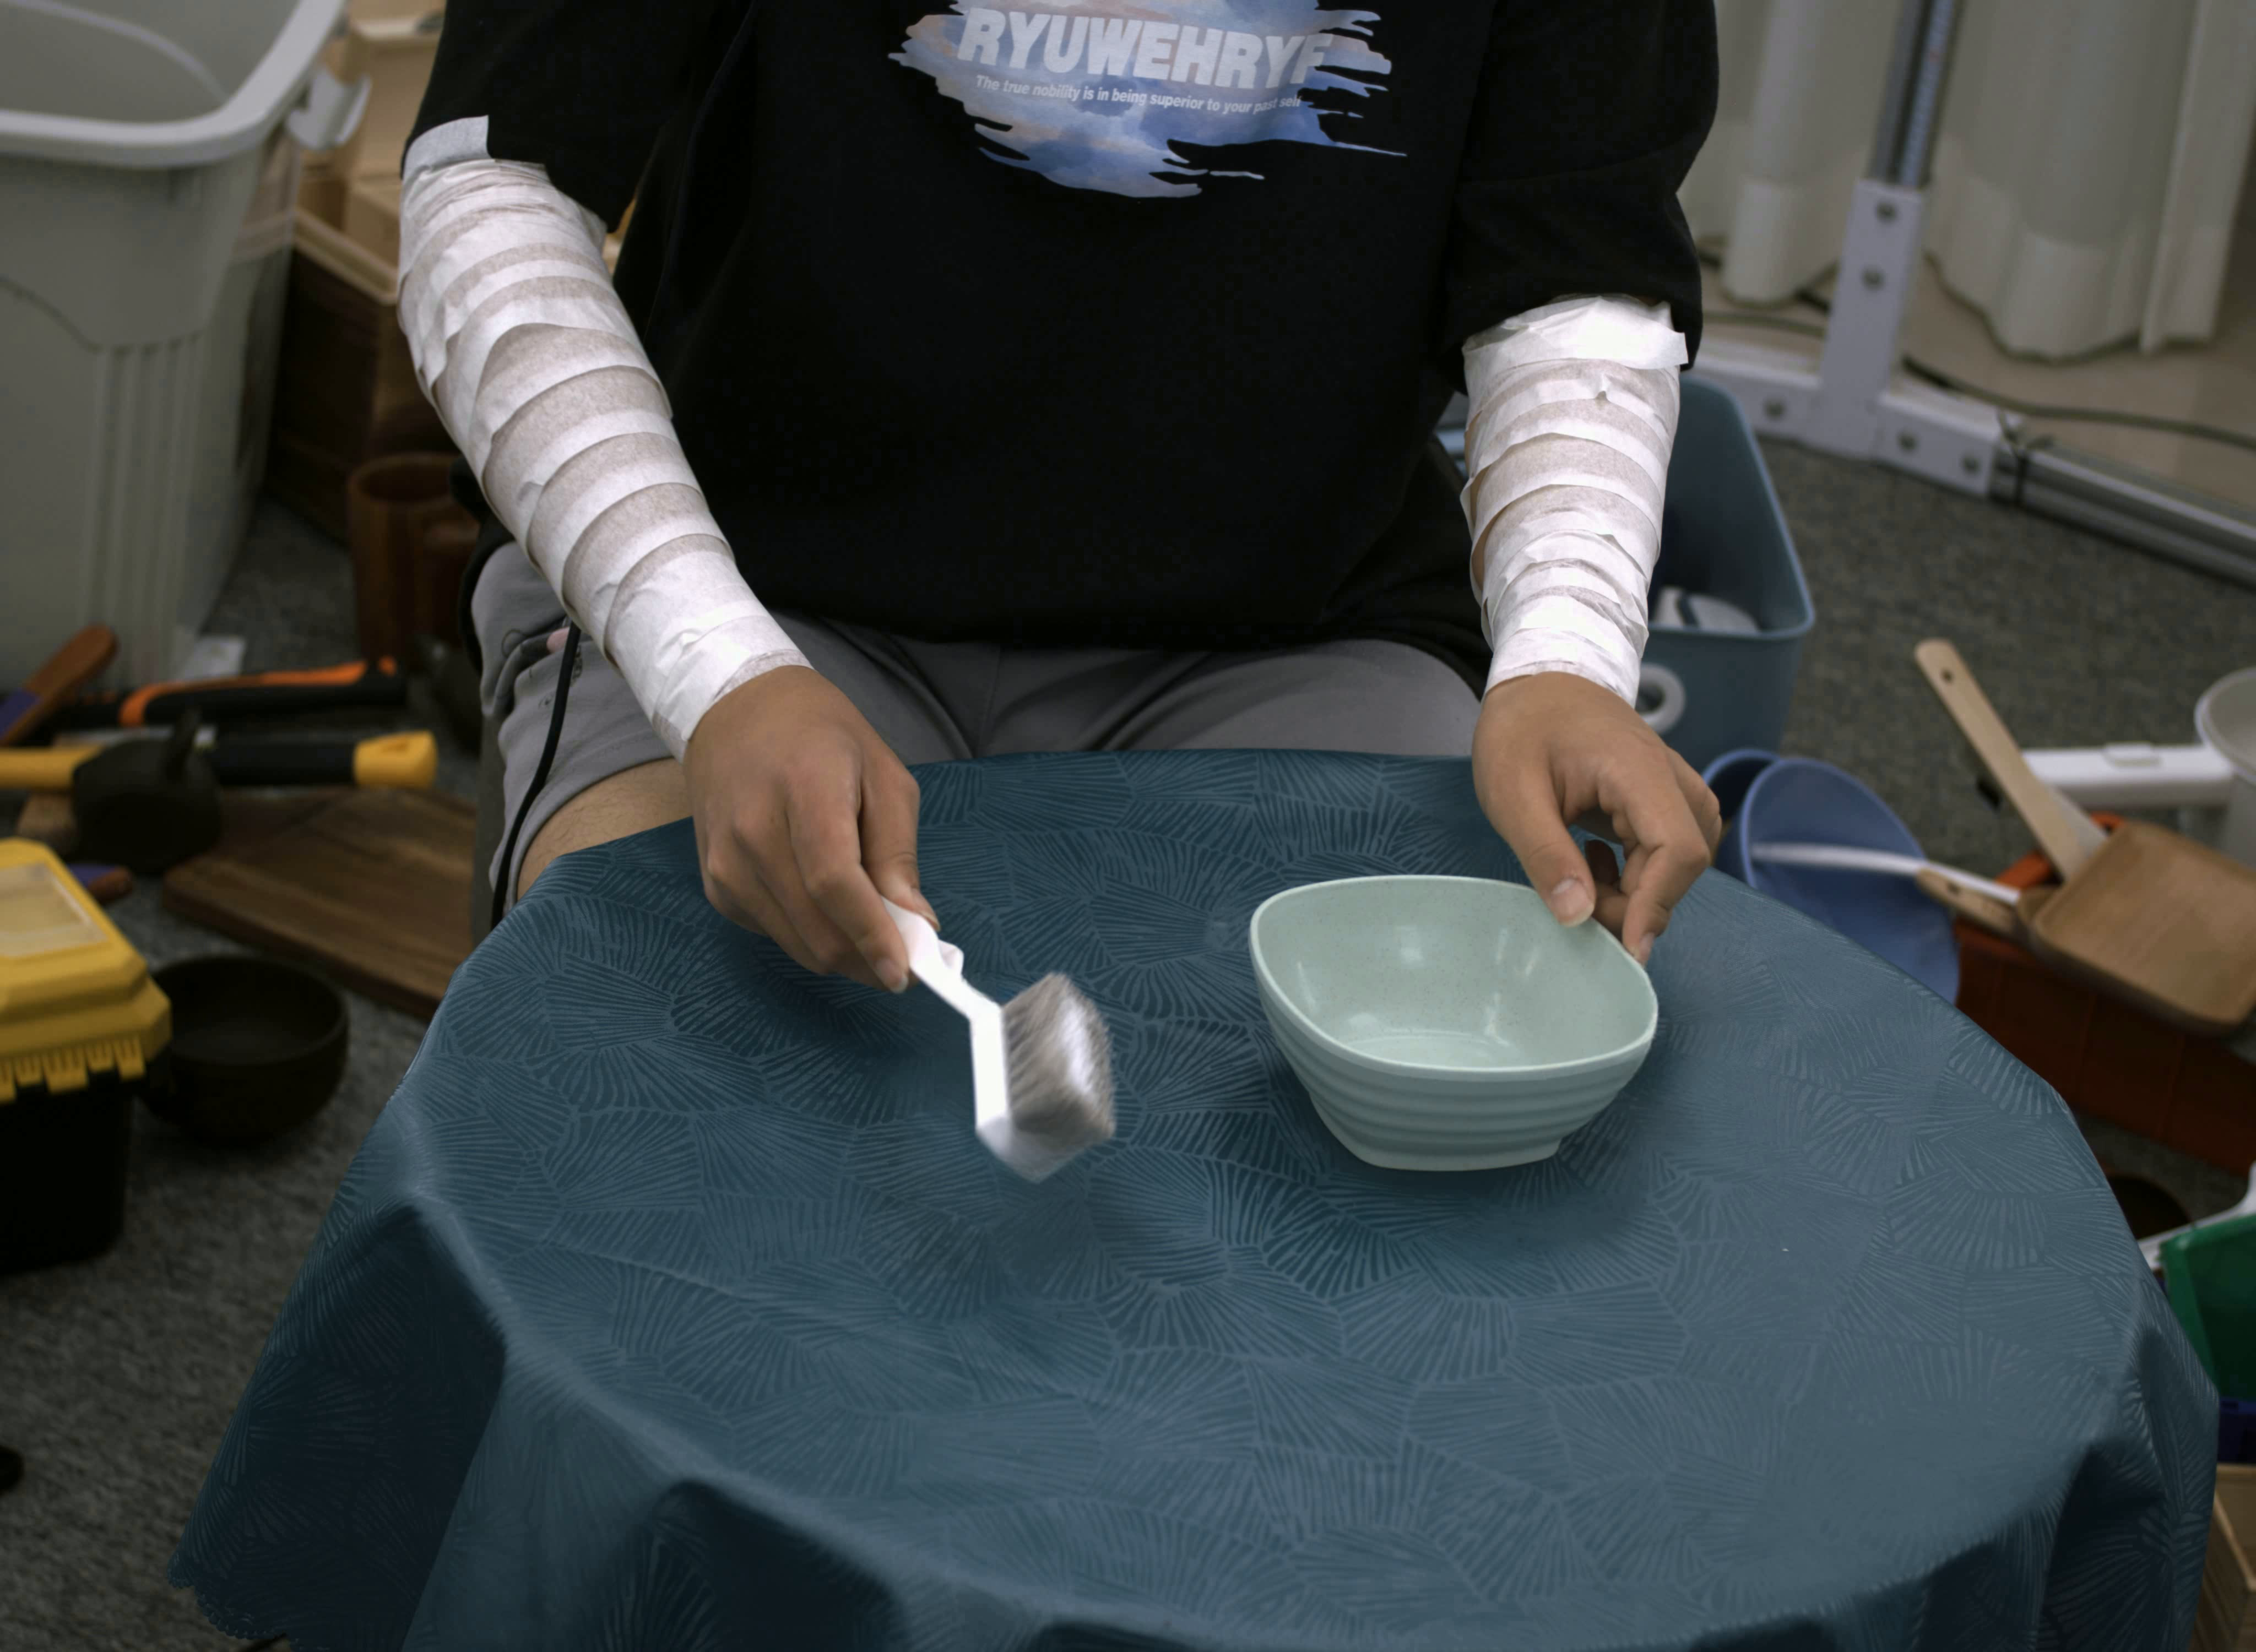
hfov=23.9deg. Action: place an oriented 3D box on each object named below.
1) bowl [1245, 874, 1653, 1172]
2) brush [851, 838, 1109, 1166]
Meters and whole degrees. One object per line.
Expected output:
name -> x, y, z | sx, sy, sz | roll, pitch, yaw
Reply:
bowl -> 0.108, 0.075, 1.862 | 0.151, 0.058, 0.152 | 7, 27, -4
brush -> -0.050, 0.044, 1.819 | 0.034, 0.050, 0.245 | 42, 7, -26
